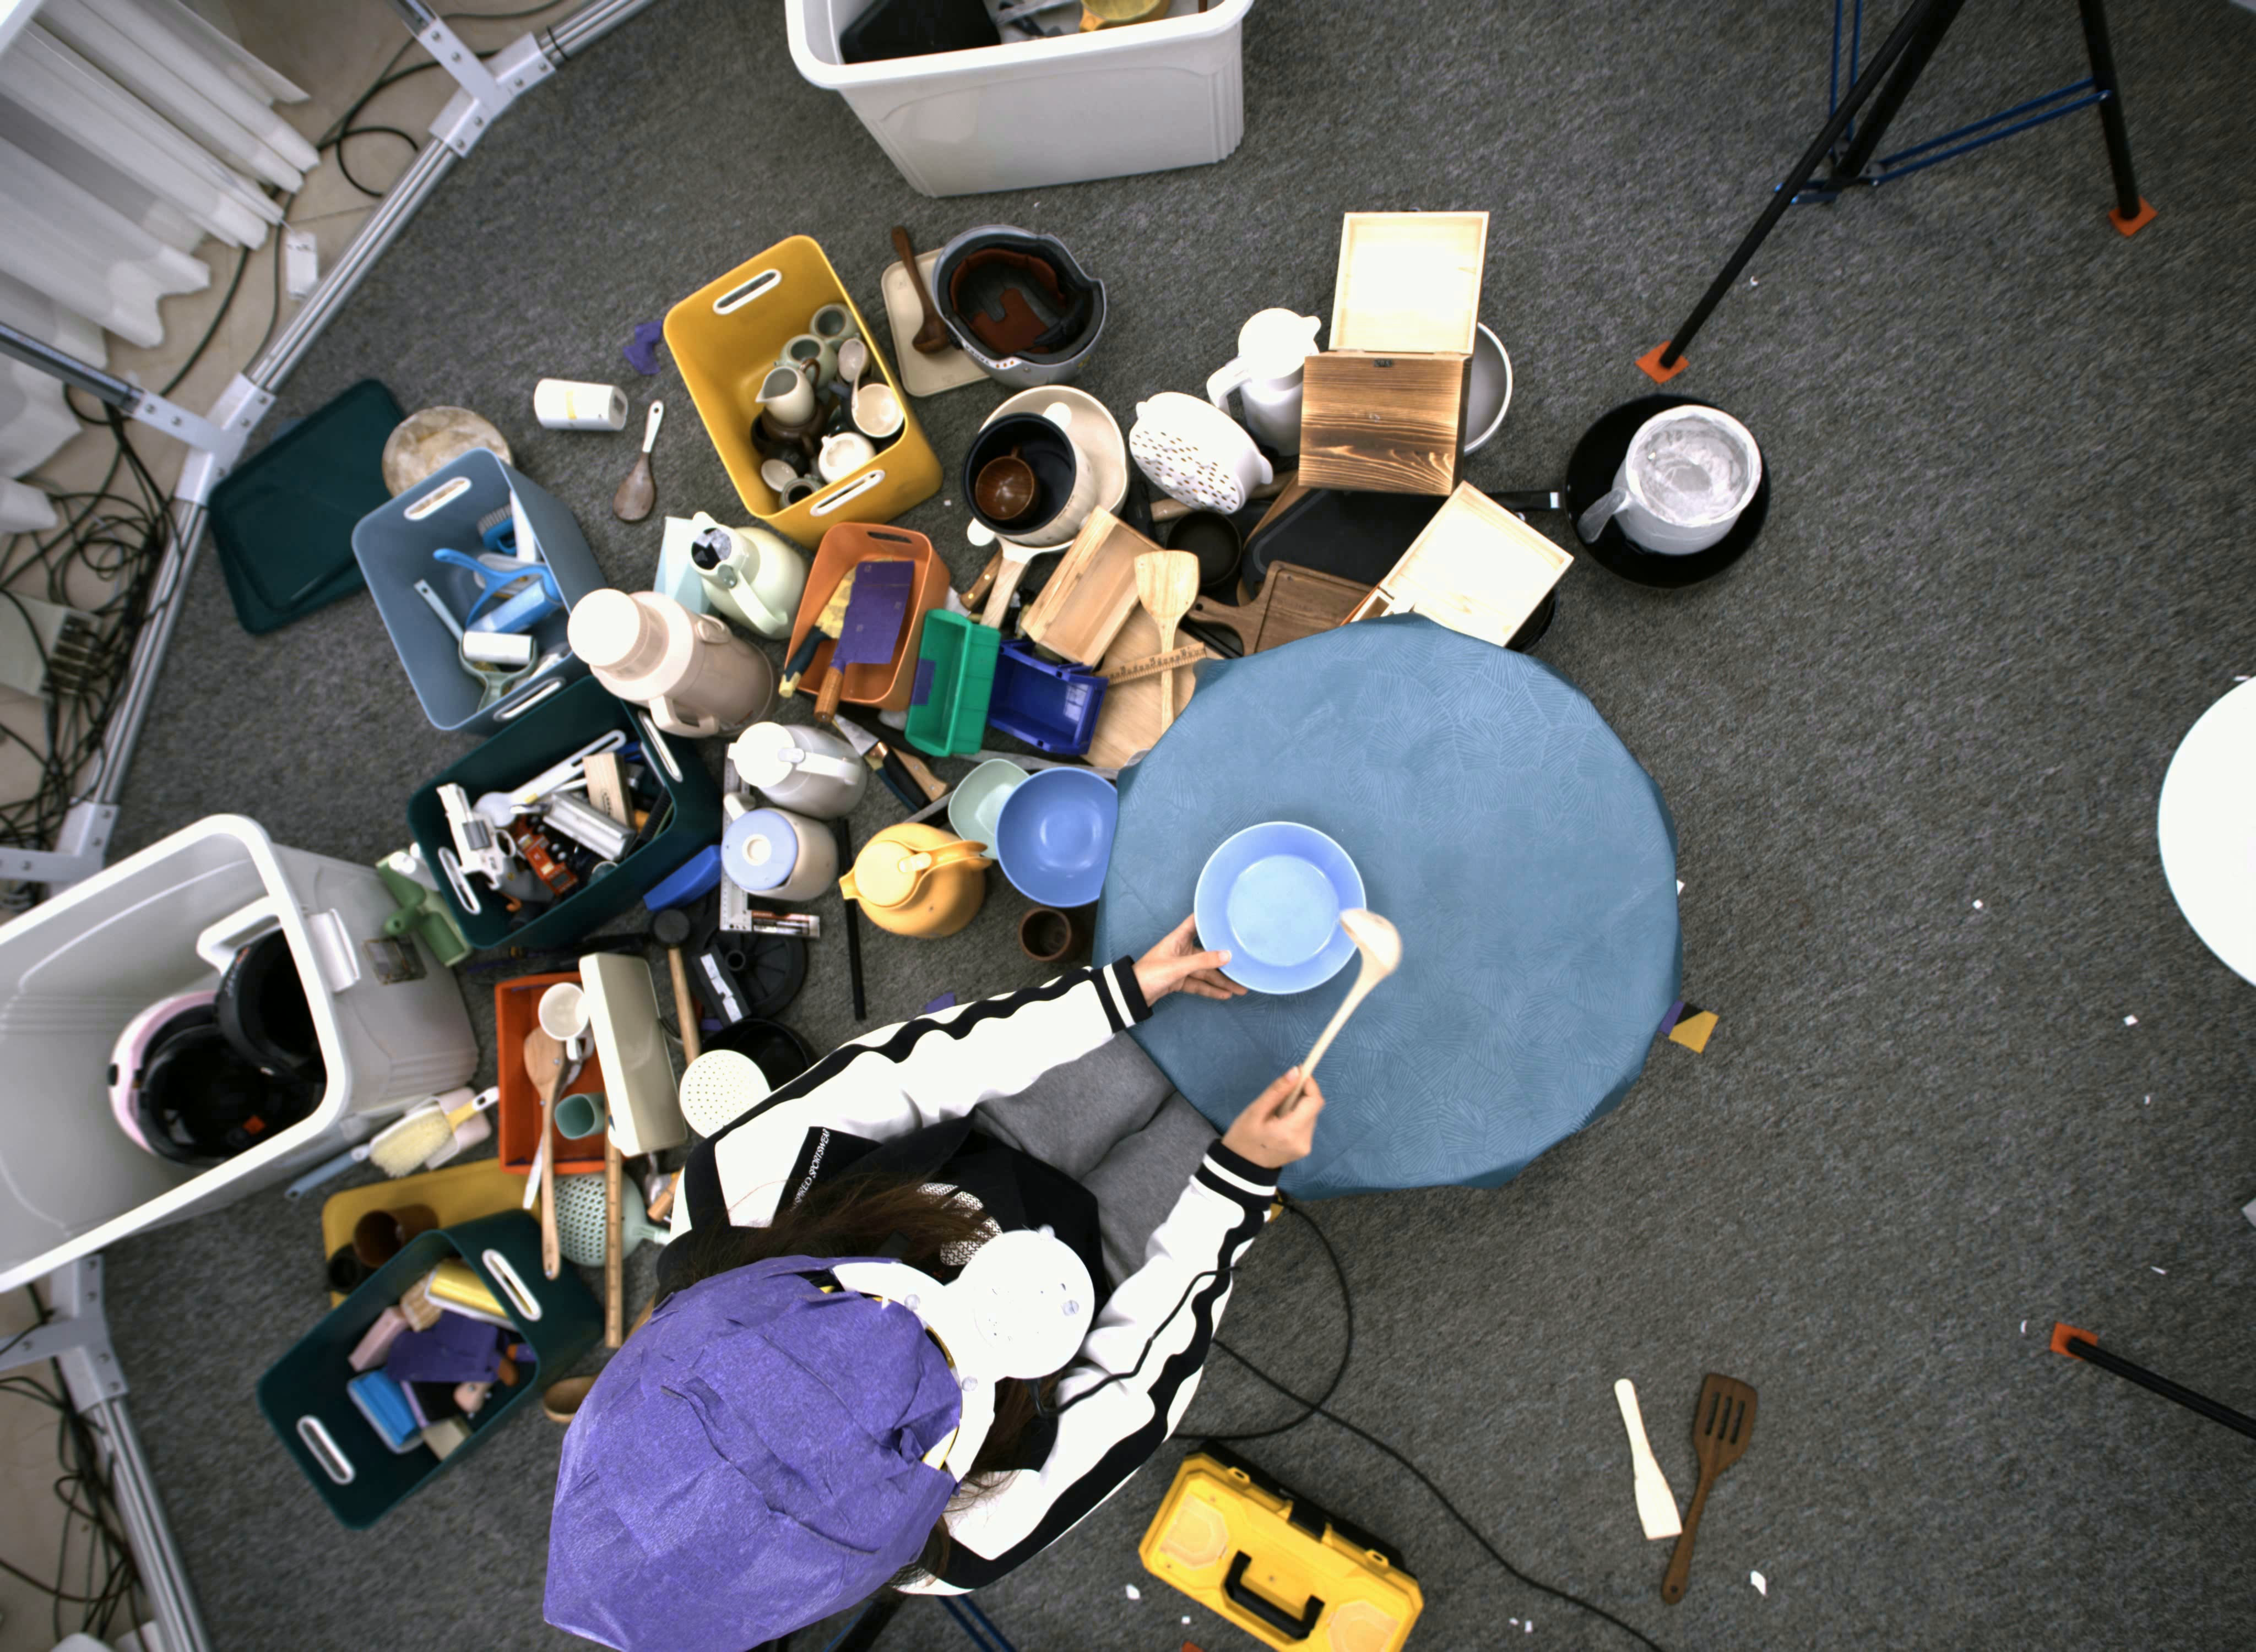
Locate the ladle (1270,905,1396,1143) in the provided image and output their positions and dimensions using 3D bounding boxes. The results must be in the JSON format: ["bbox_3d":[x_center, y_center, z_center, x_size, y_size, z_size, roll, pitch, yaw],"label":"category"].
[{"bbox_3d":[0.171,0.191,1.316,0.258,0.073,0.071,-63,36,16],"label":"ladle"}]

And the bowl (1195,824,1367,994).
[{"bbox_3d":[0.161,0.088,1.444,0.177,0.070,0.175,-1,85,11],"label":"bowl"}]
